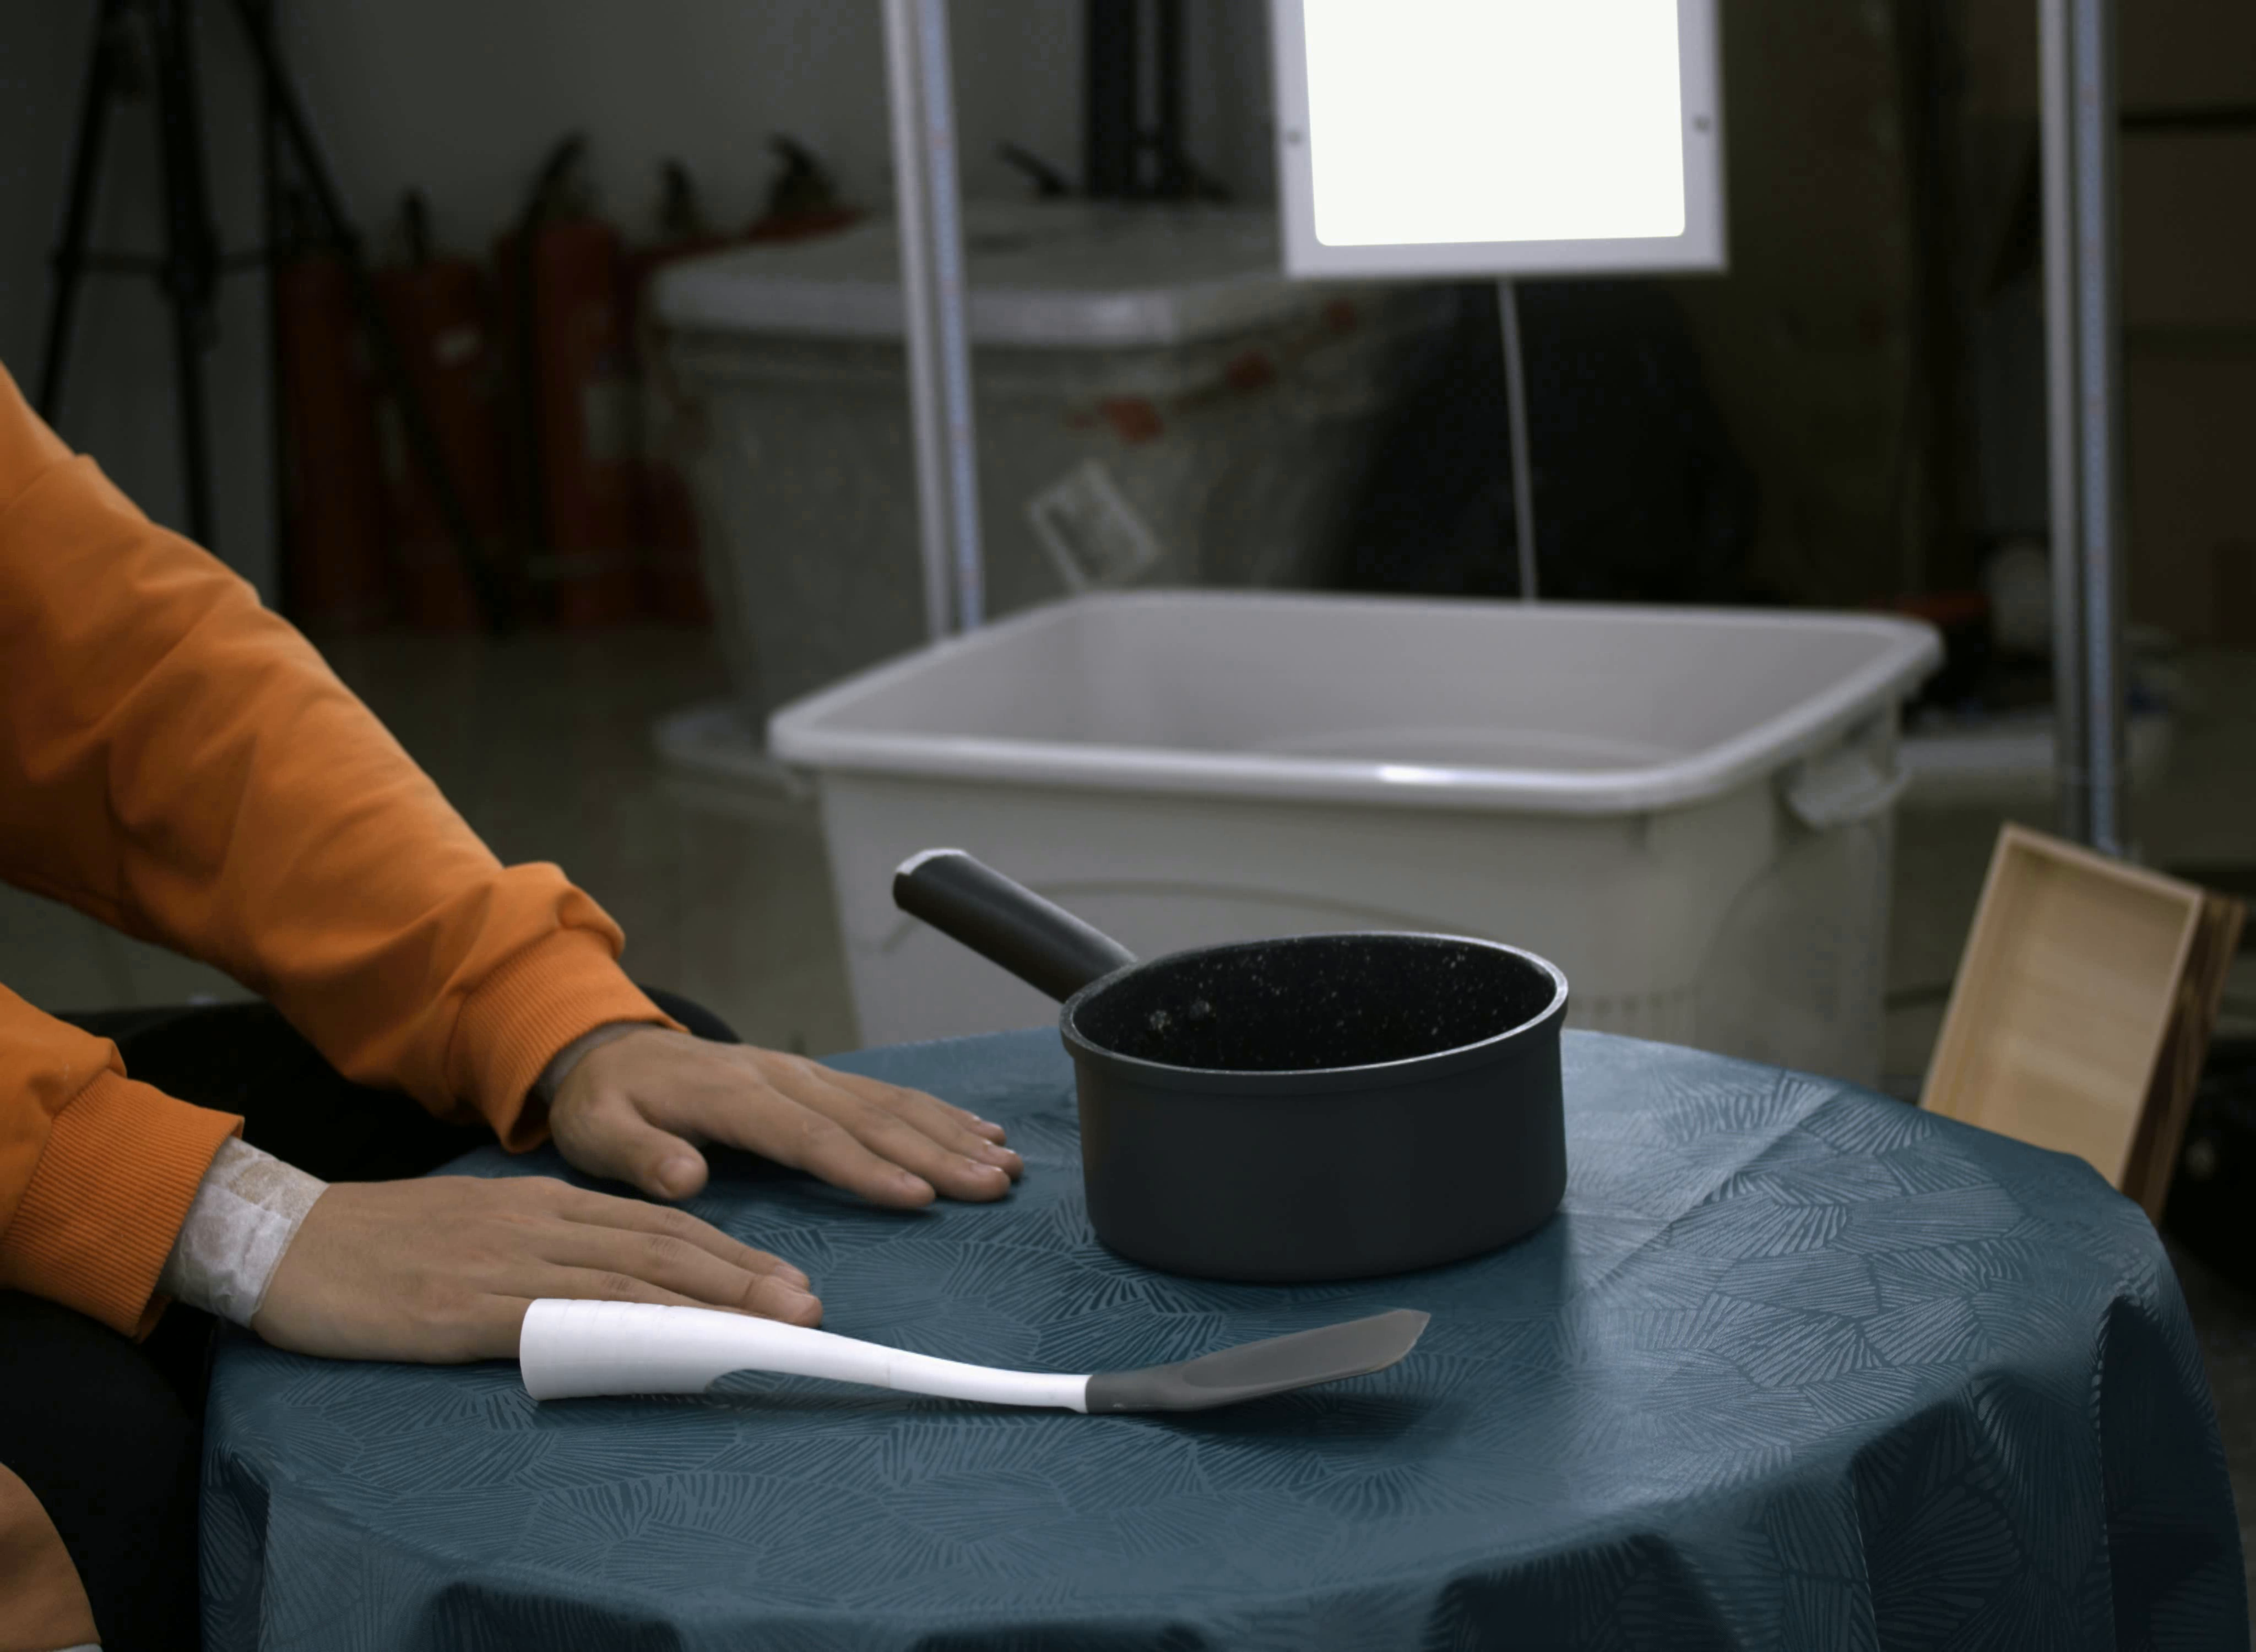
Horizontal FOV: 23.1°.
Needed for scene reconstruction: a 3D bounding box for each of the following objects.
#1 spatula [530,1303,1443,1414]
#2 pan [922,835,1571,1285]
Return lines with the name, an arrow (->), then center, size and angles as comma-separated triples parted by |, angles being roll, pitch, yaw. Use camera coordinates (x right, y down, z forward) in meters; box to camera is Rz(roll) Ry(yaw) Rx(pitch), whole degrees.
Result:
spatula -> -0.045, 0.164, 1.695 | 0.291, 0.032, 0.058 | -1, 11, 18
pan -> 0.022, 0.077, 1.914 | 0.168, 0.087, 0.335 | -12, 17, -29
